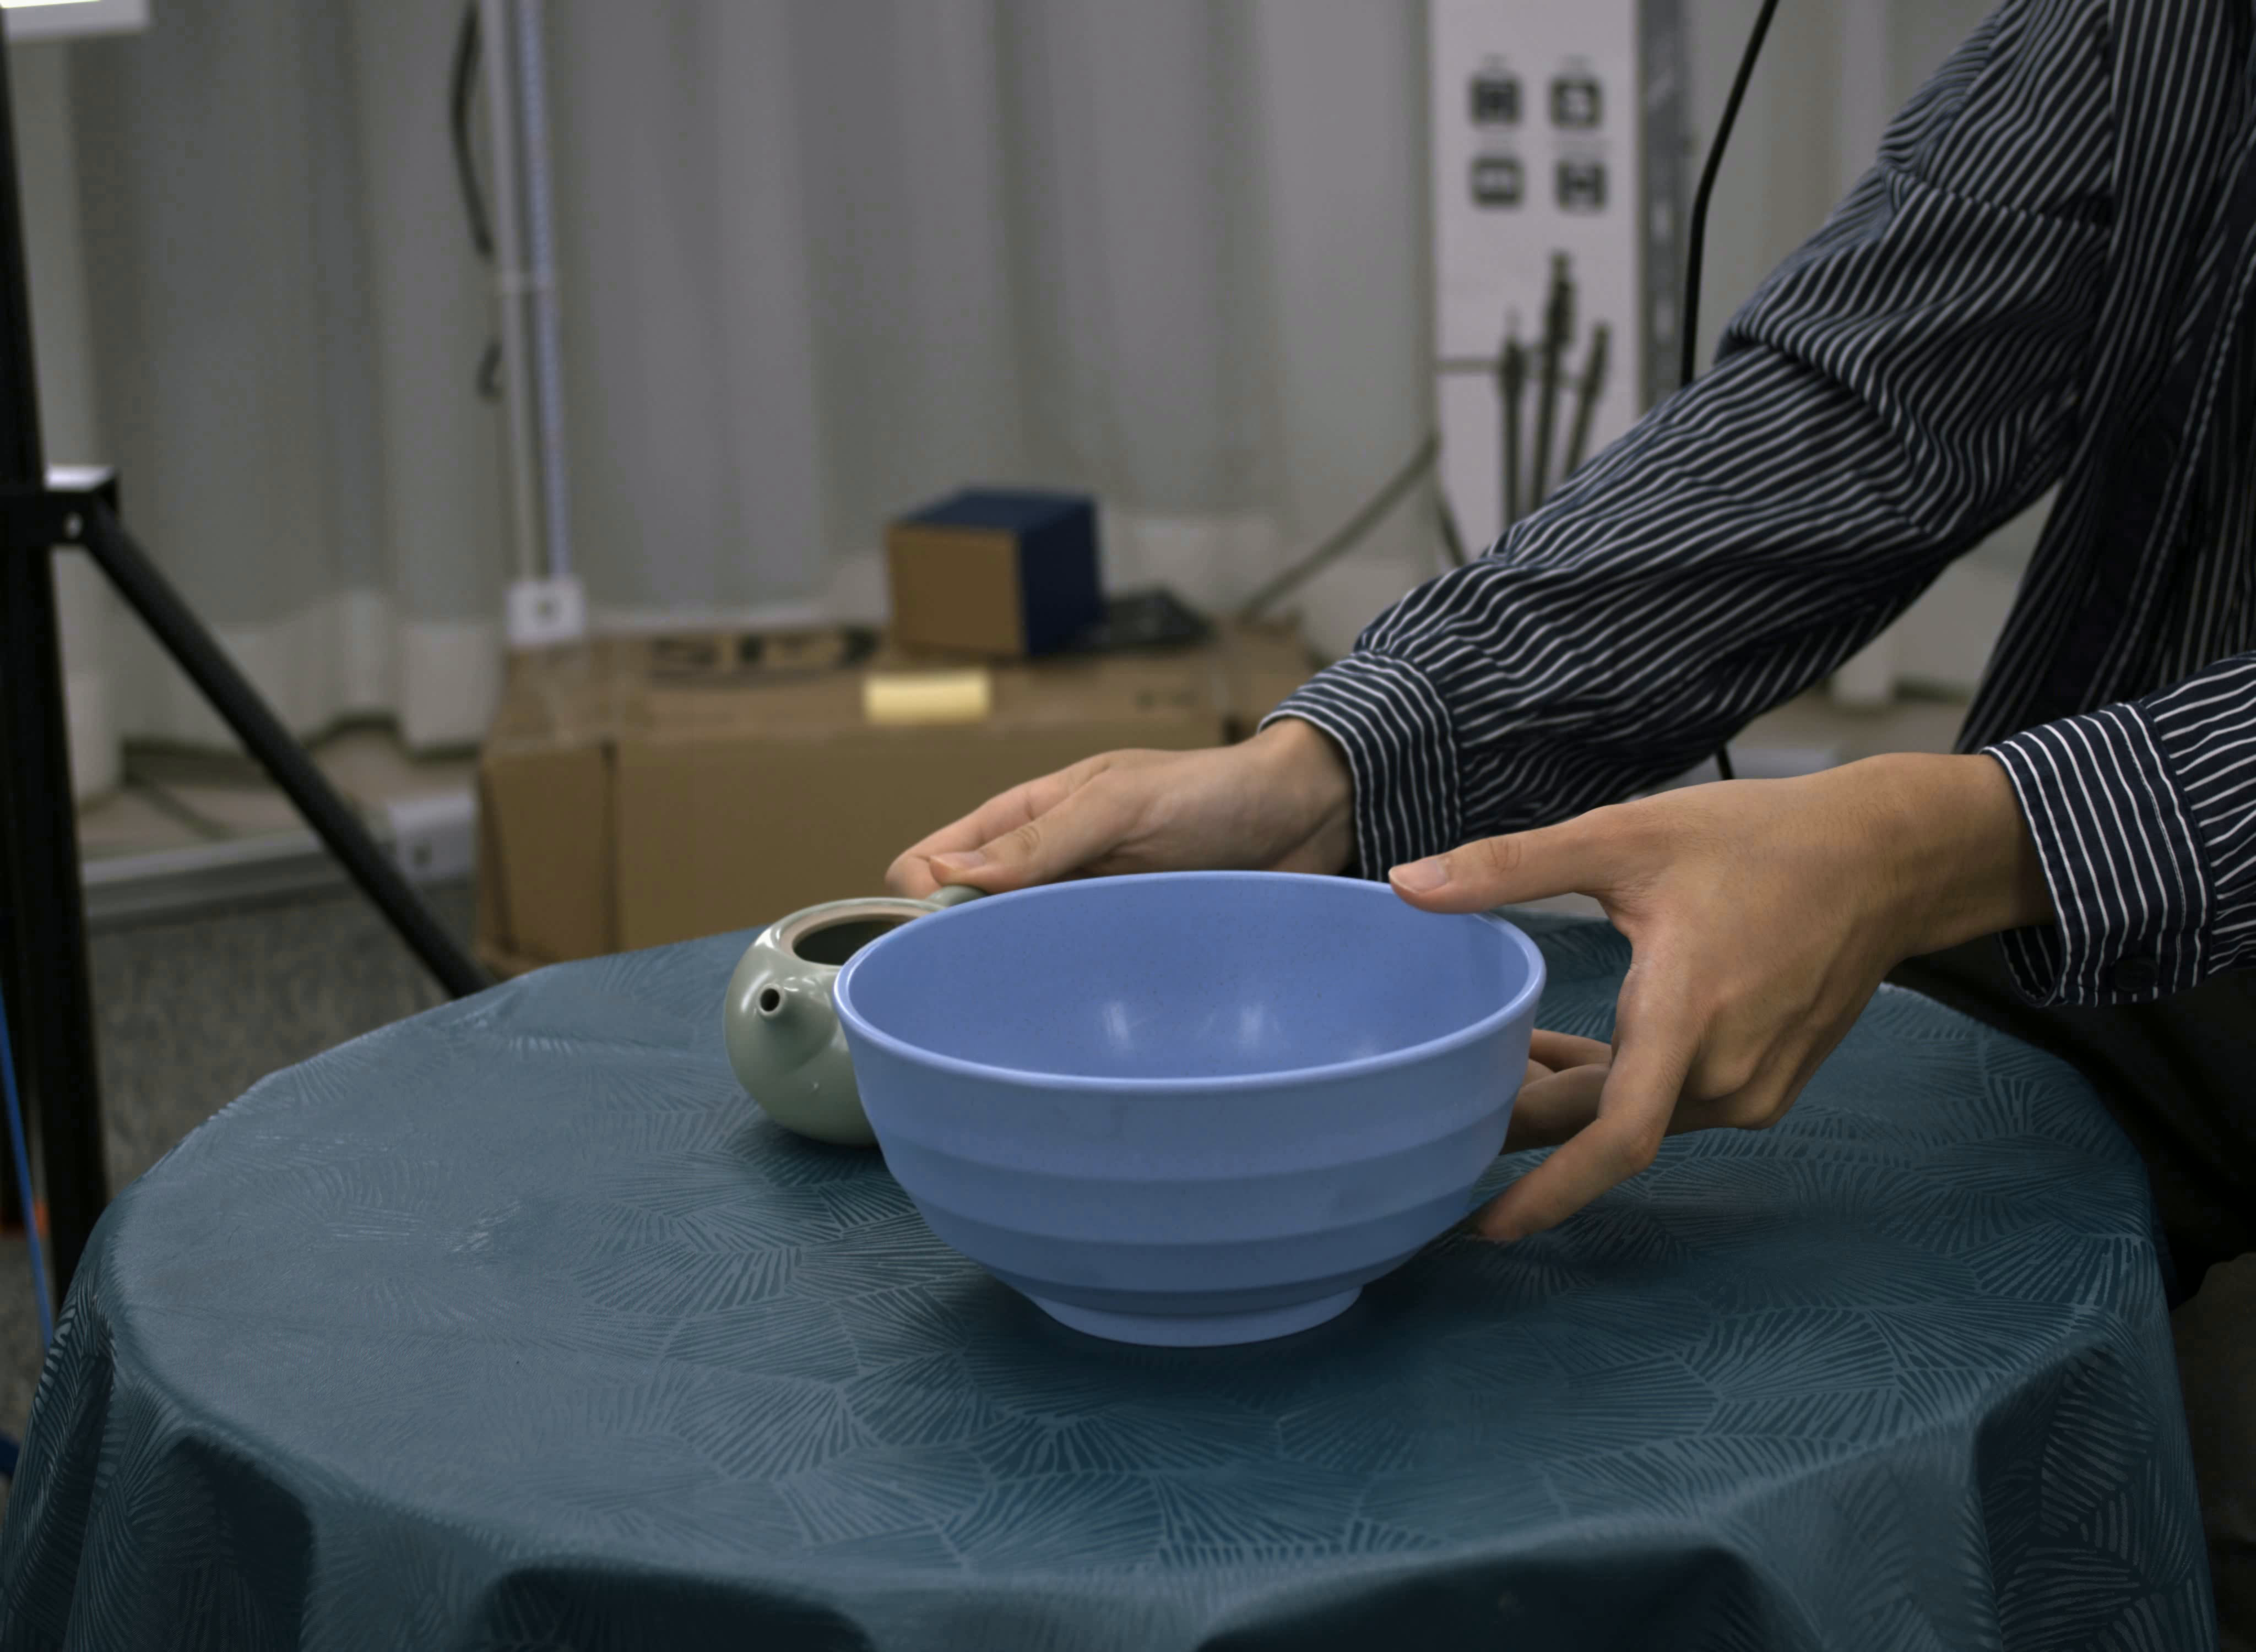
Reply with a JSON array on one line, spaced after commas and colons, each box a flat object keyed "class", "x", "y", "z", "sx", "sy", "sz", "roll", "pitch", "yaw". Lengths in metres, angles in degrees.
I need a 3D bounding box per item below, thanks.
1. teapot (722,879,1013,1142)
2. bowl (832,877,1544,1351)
[{"class": "teapot", "x": -0.073, "y": 0.056, "z": 1.637, "sx": 0.093, "sy": 0.061, "sz": 0.126, "roll": 10, "pitch": 23, "yaw": 37}, {"class": "bowl", "x": 0.018, "y": 0.085, "z": 1.472, "sx": 0.195, "sy": 0.095, "sz": 0.197, "roll": -3, "pitch": 15, "yaw": -1}]
